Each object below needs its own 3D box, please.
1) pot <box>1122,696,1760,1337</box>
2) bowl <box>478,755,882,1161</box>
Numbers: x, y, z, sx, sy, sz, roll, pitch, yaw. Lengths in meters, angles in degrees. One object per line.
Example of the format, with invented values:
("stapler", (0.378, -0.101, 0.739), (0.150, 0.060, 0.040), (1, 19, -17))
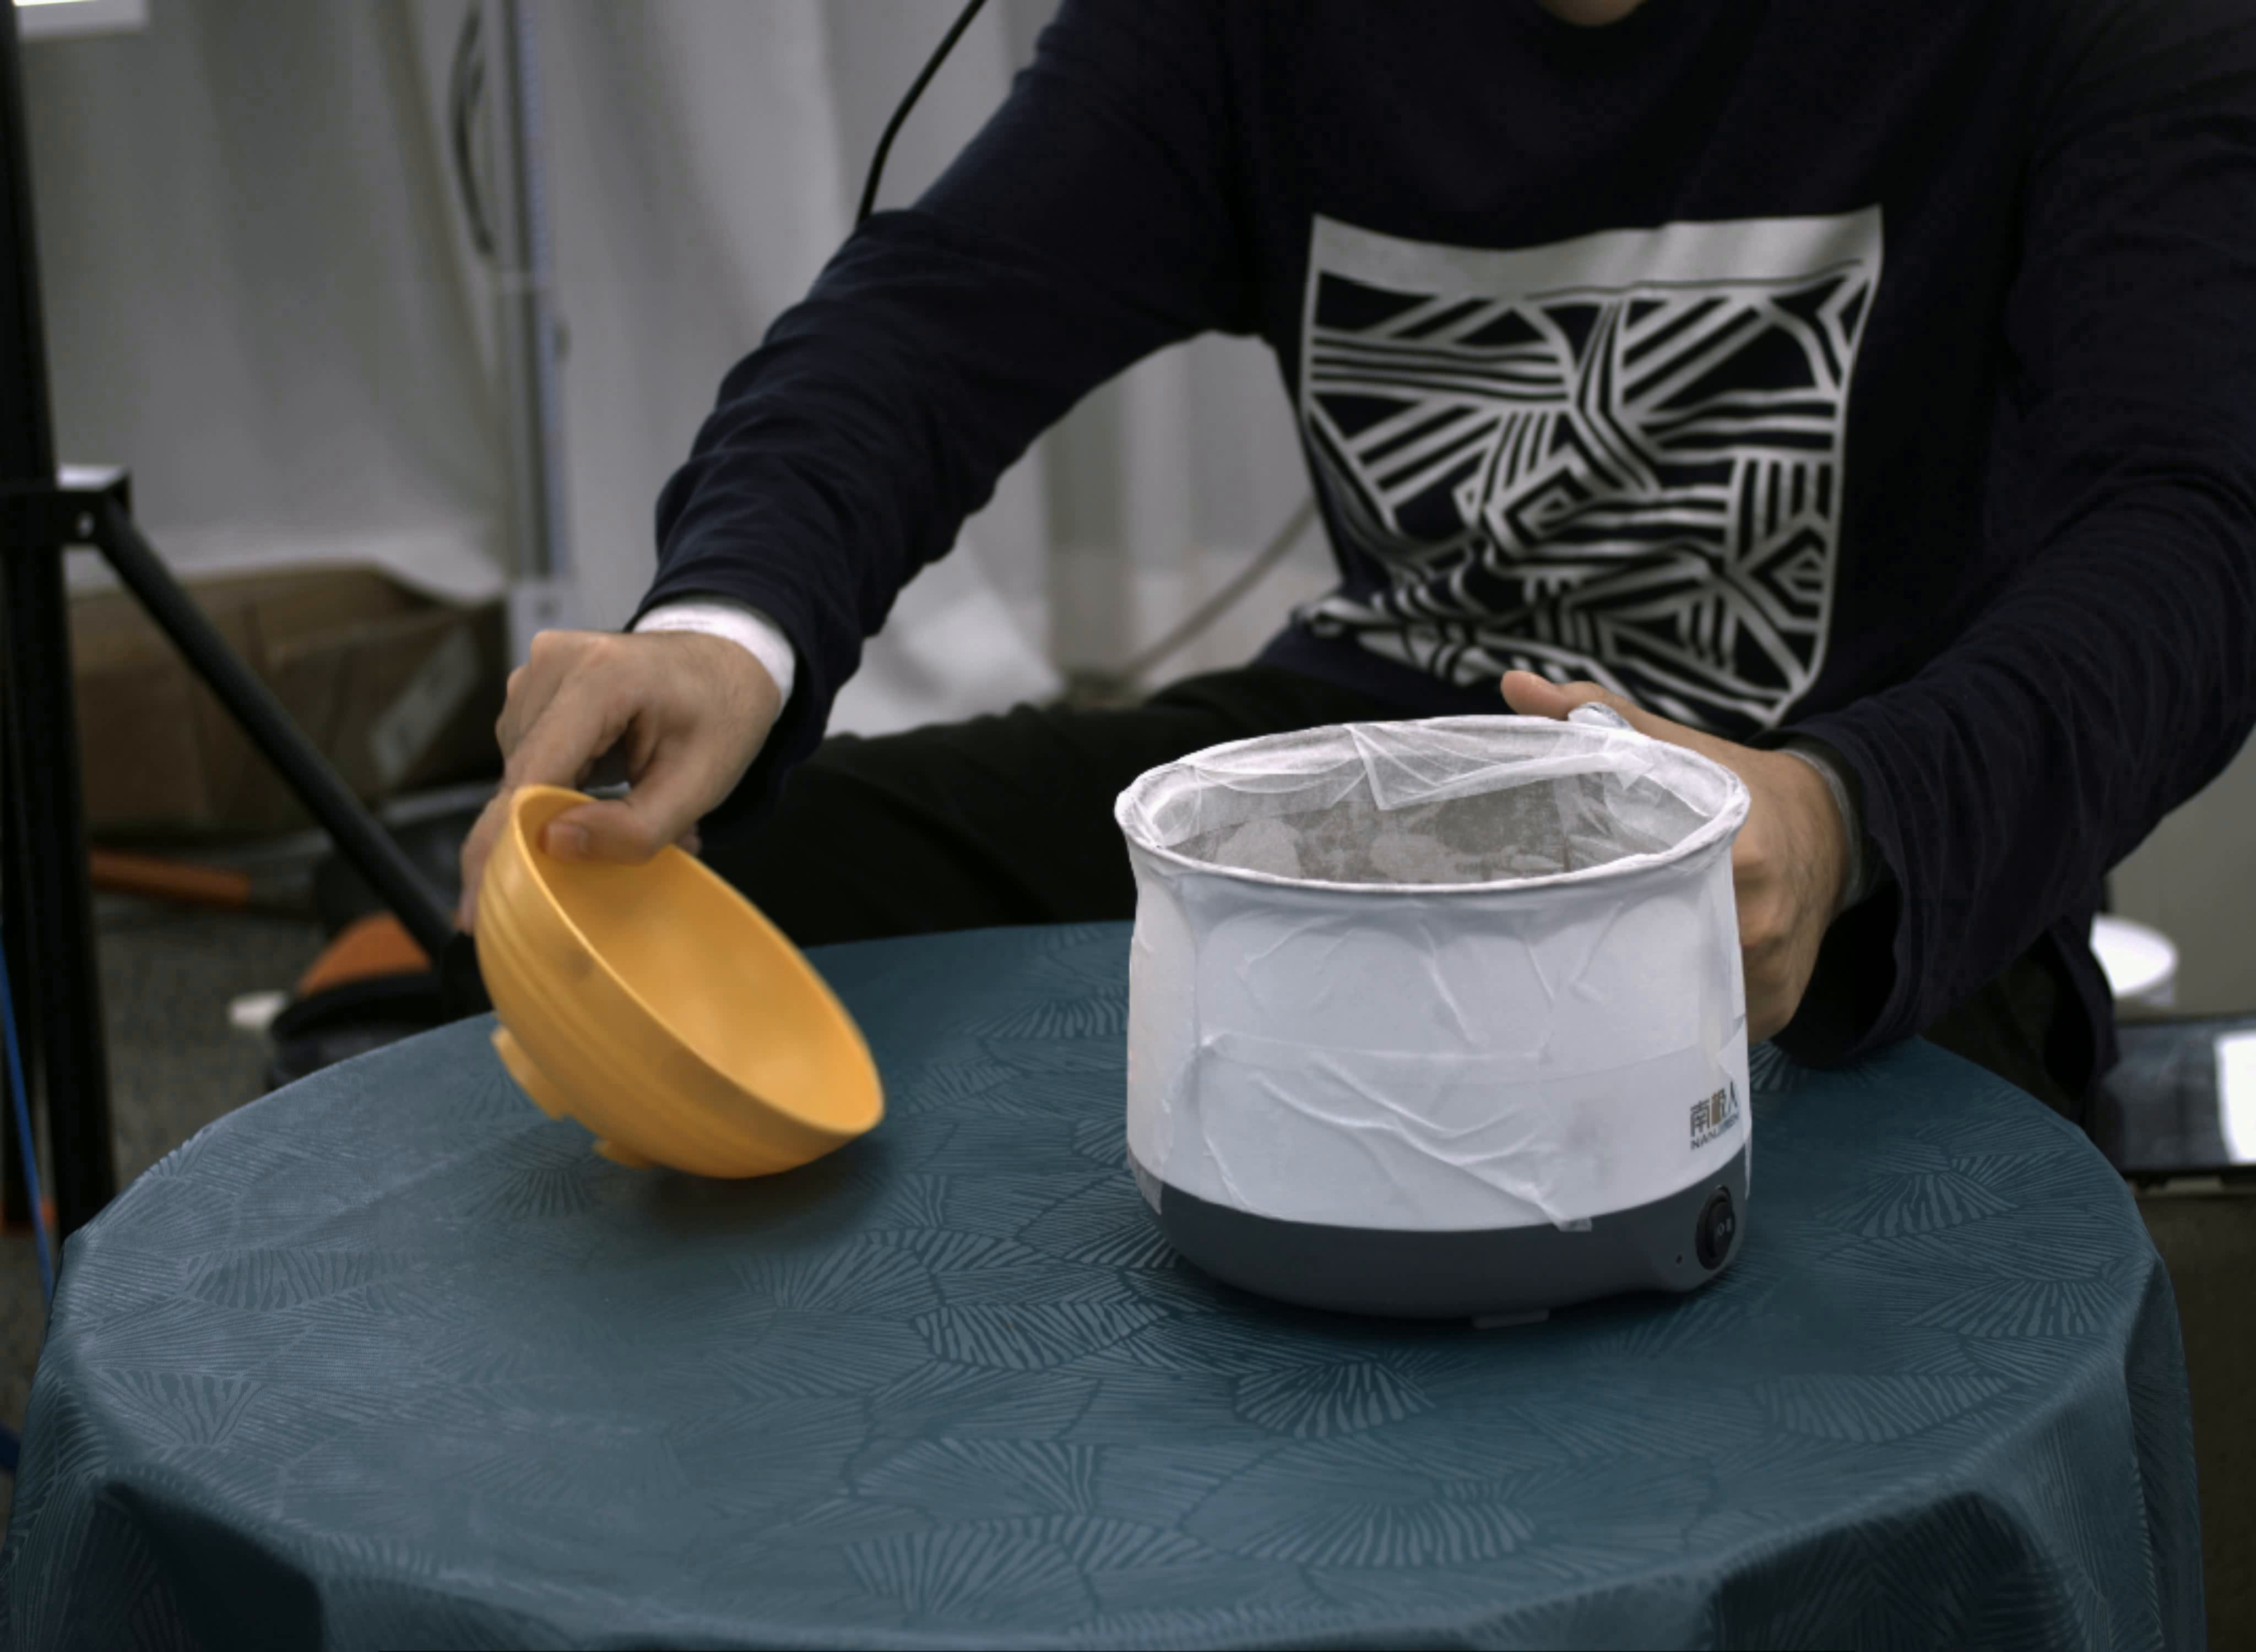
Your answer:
("pot", (0.100, 0.046, 1.512), (0.182, 0.136, 0.229), (10, 20, 29))
("bowl", (-0.145, 0.052, 1.591), (0.143, 0.060, 0.146), (38, 19, -18))
